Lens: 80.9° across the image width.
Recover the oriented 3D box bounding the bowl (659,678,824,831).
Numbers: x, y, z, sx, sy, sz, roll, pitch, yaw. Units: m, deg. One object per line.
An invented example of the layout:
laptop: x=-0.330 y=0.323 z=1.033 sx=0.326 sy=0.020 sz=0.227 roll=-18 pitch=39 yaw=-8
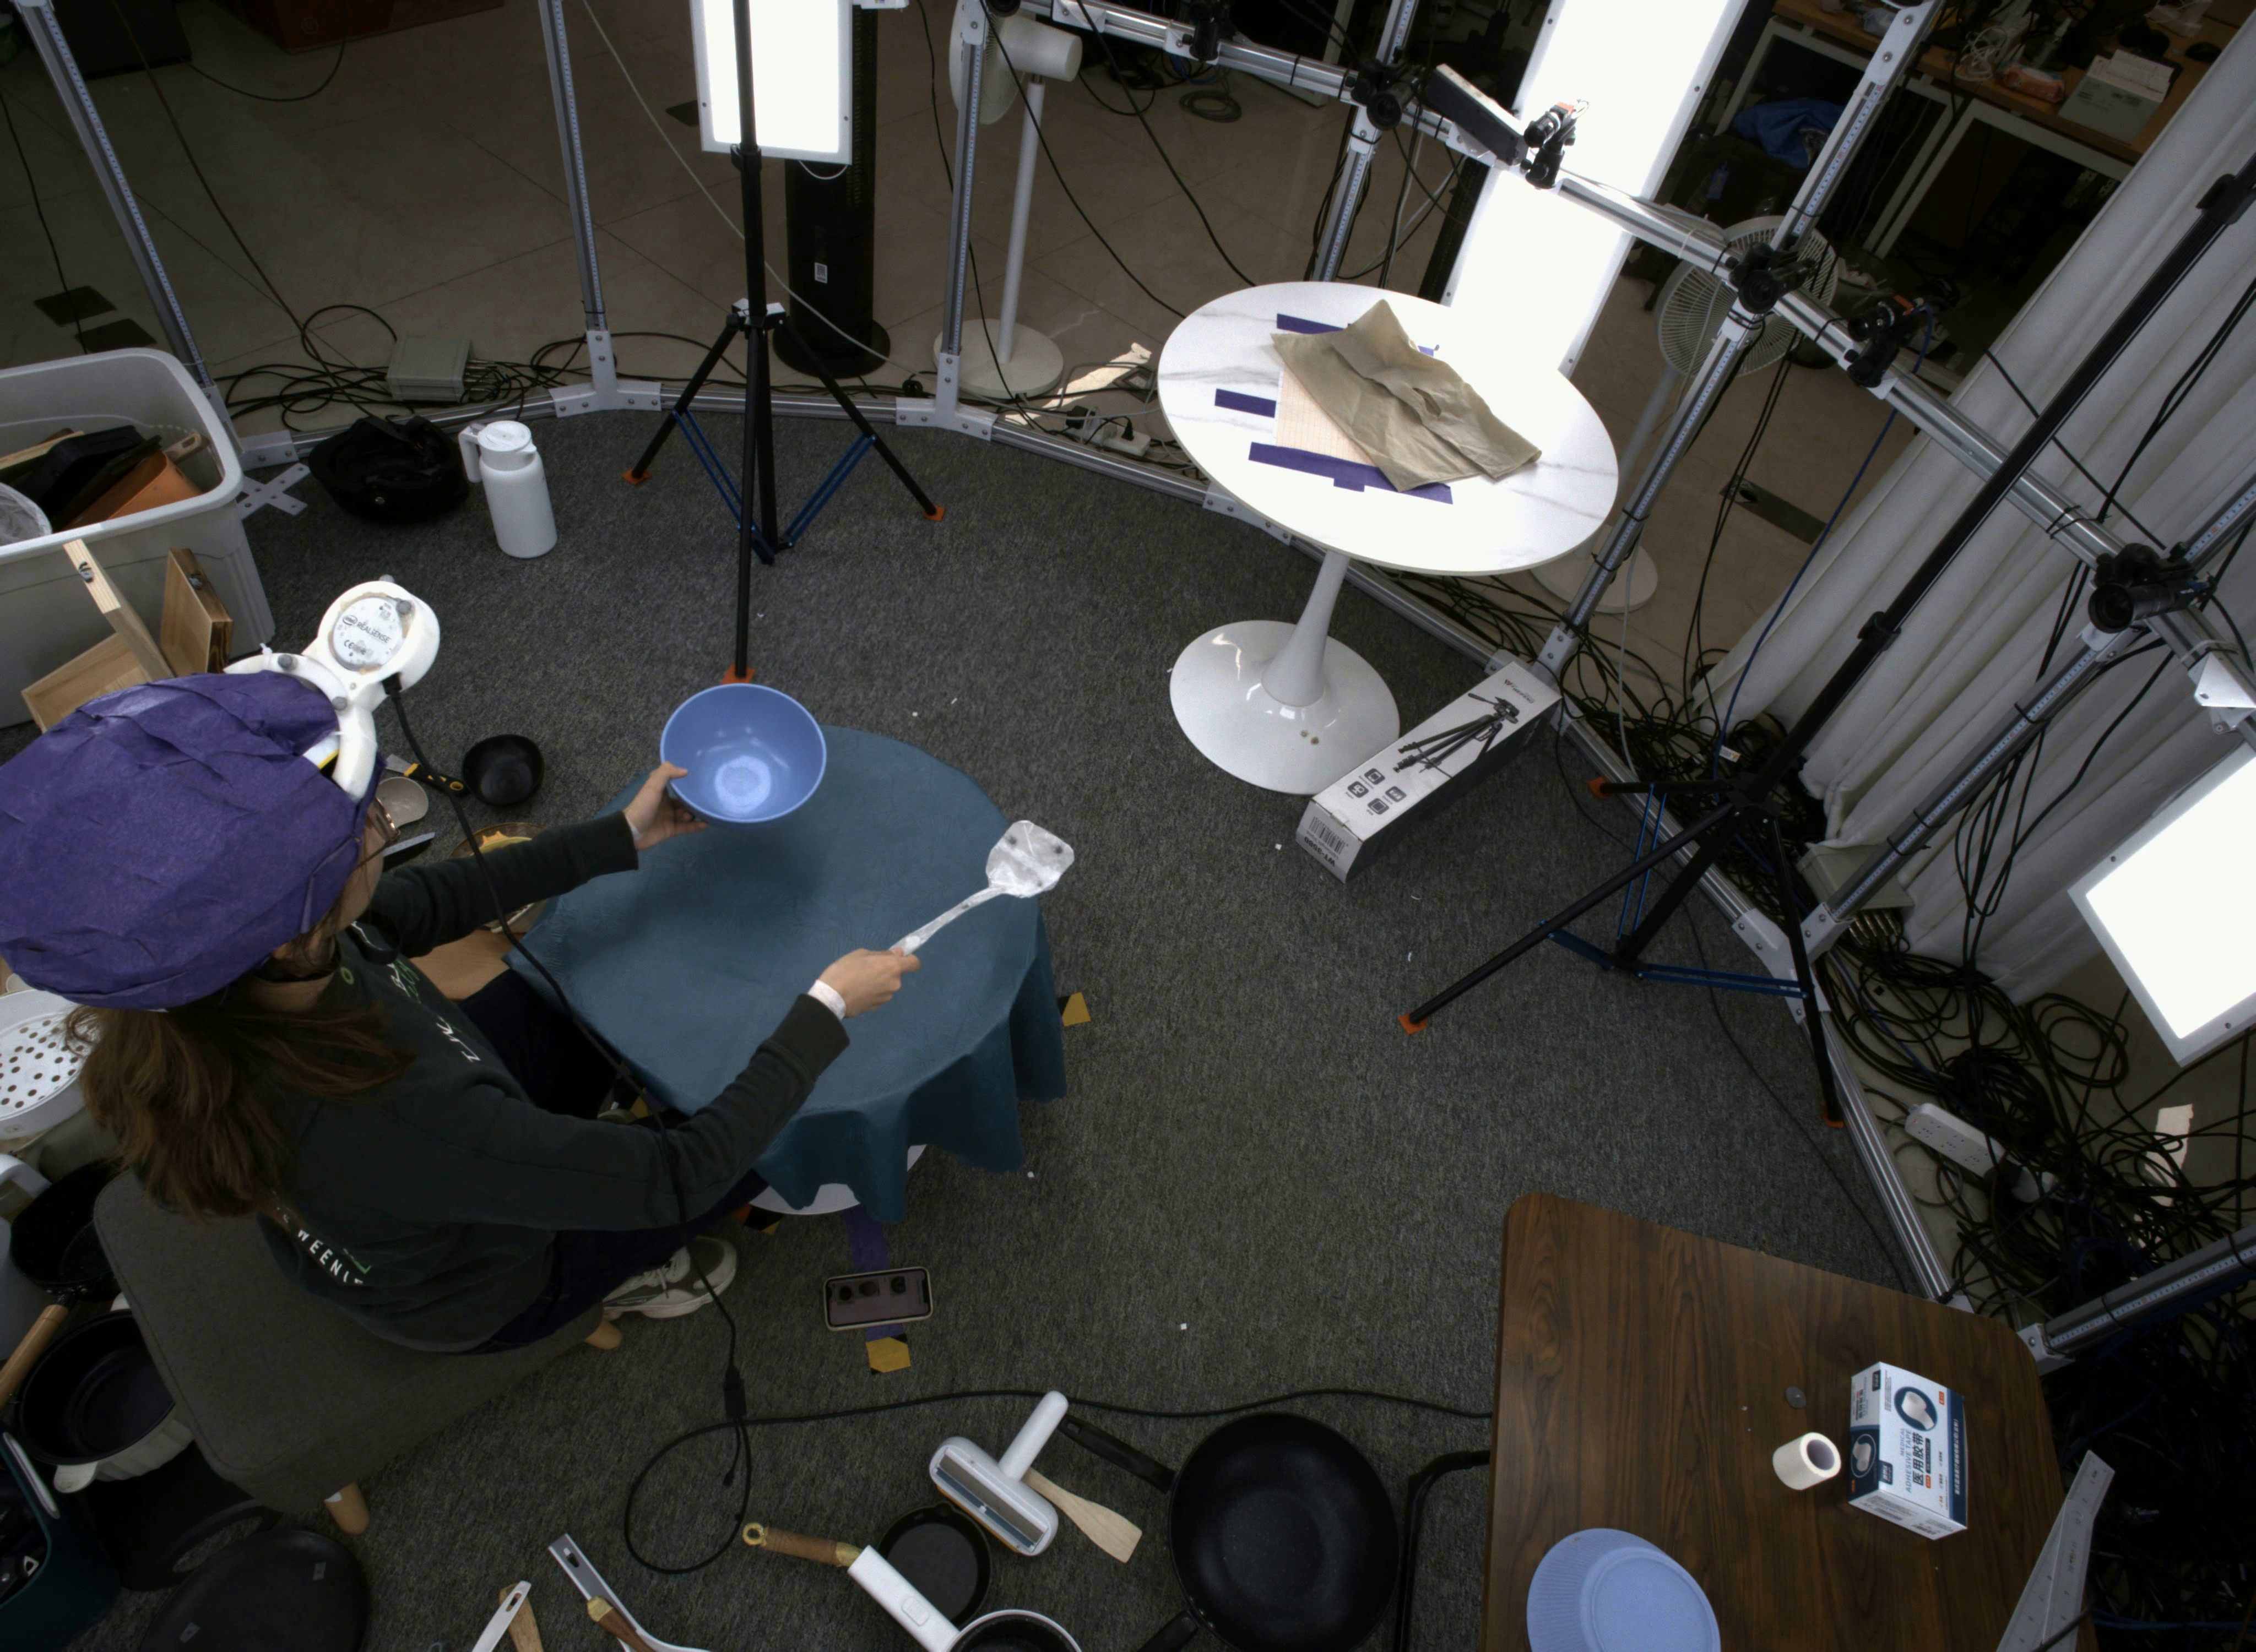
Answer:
bowl: x=-0.480 y=-0.073 z=1.600 sx=0.198 sy=0.096 sz=0.194 roll=11 pitch=60 yaw=-17

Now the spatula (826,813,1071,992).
spatula: x=-0.209 y=0.092 z=1.525 sx=0.096 sy=0.046 sz=0.366 roll=35 pitch=42 yaw=20
